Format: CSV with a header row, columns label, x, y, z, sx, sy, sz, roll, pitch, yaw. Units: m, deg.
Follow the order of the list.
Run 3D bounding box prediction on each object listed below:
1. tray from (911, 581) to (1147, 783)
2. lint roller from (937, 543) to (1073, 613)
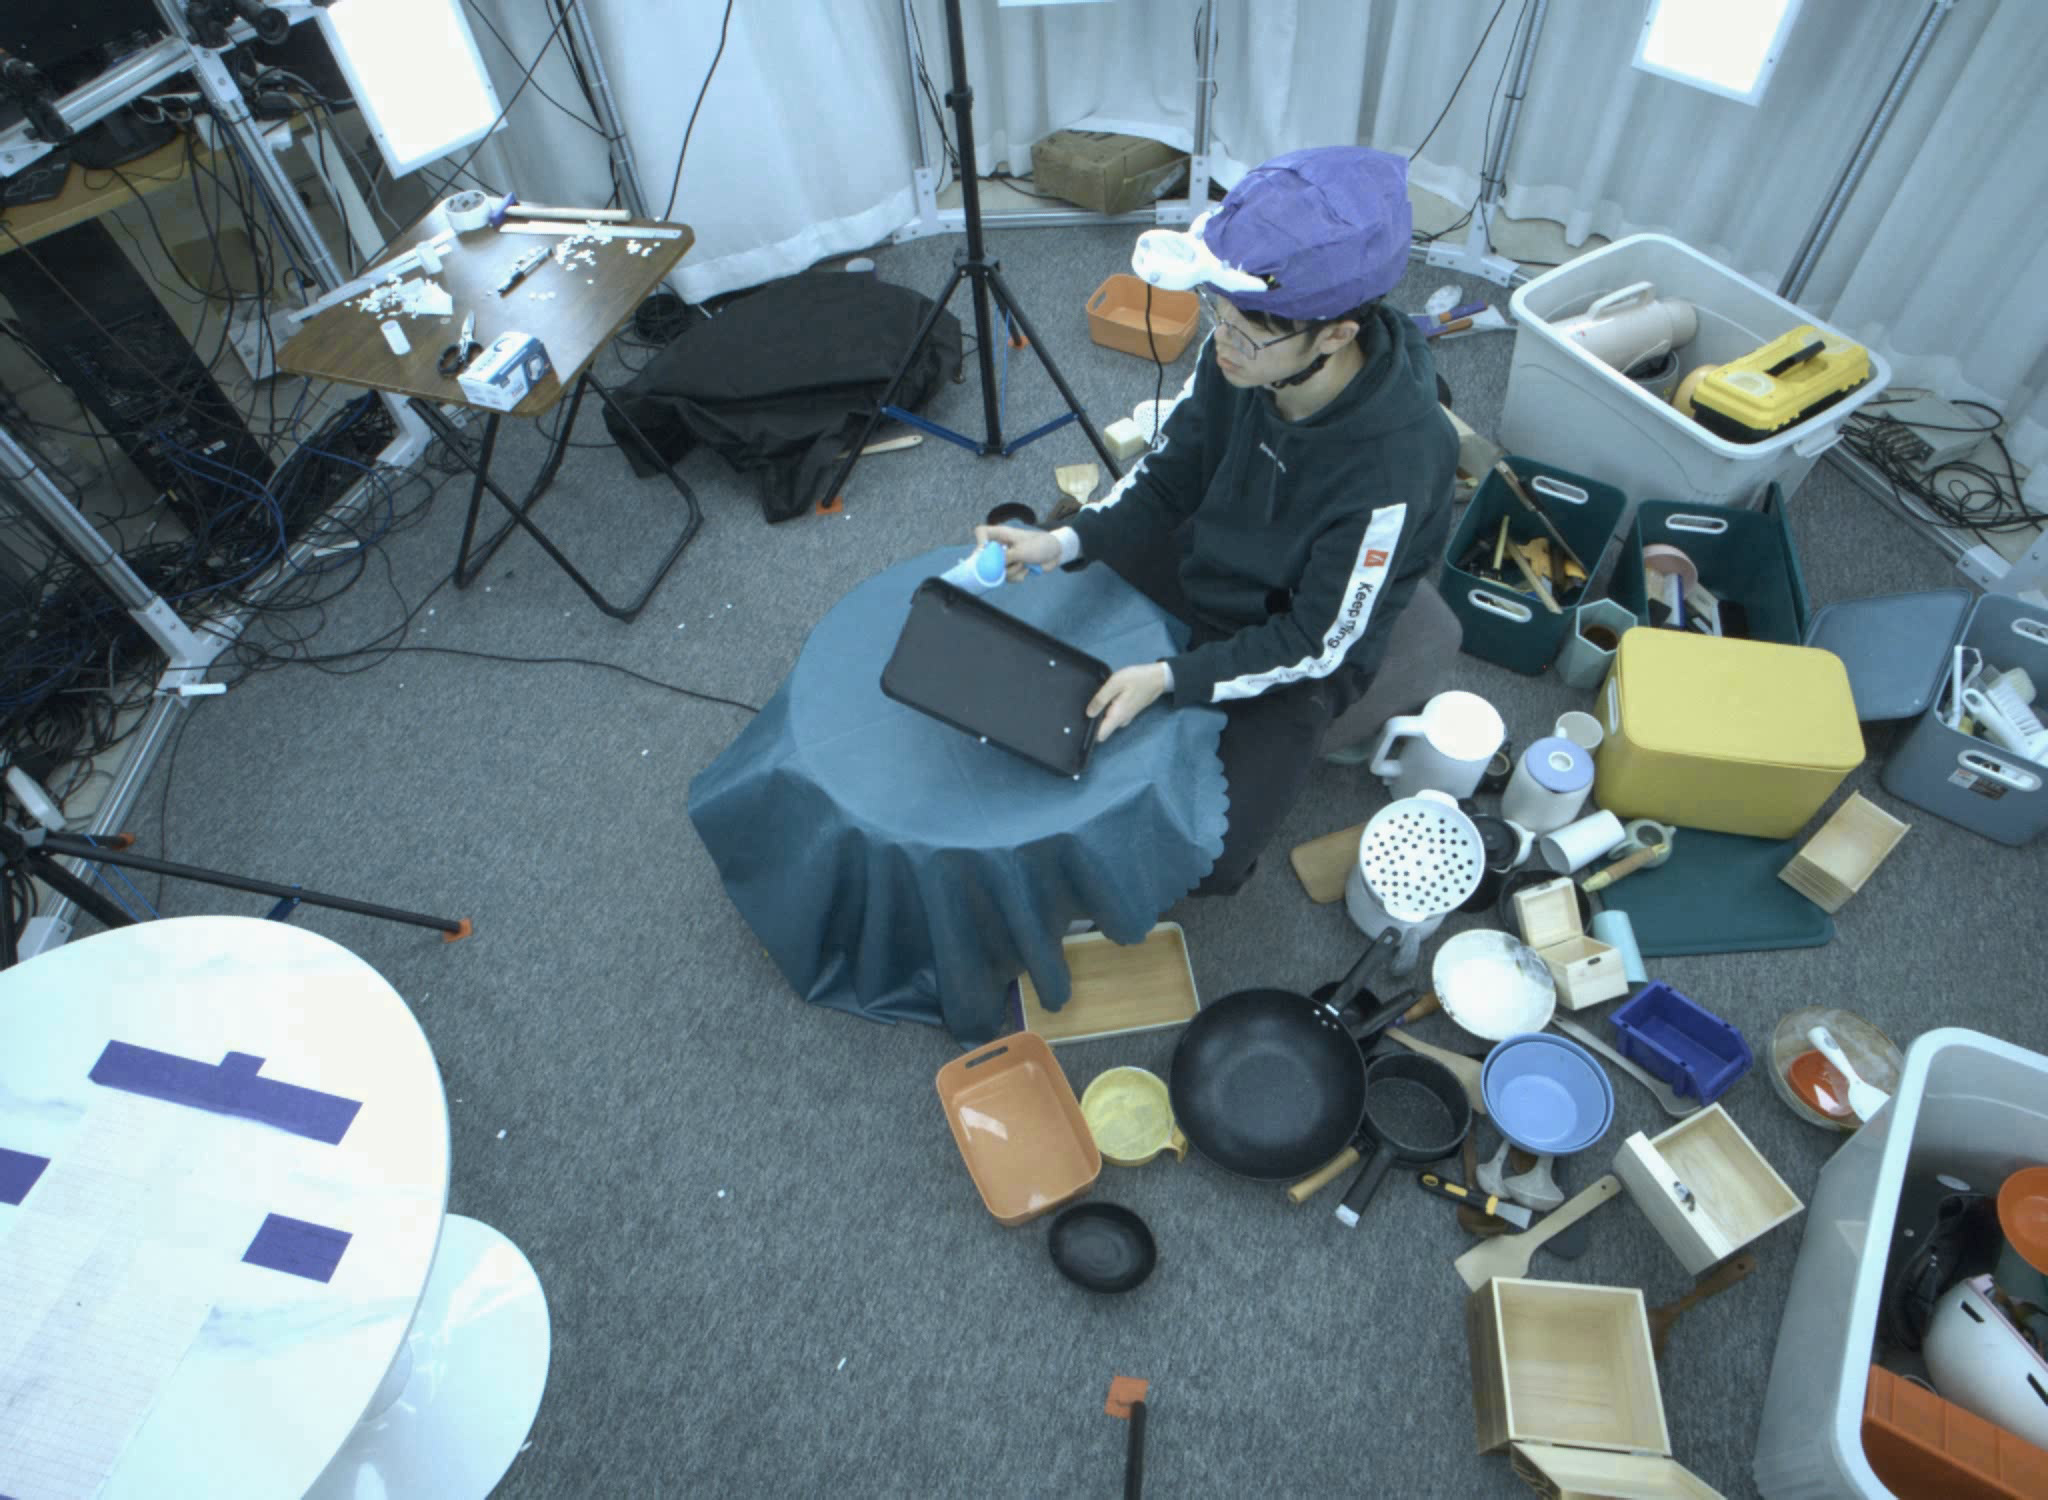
label,x,y,z,sx,sy,sz,roll,pitch,yaw
tray,0.011,-0.091,1.710,0.323,0.036,0.184,25,70,-19
lint roller,-0.012,-0.252,1.778,0.183,0.225,0.068,-25,93,-35
